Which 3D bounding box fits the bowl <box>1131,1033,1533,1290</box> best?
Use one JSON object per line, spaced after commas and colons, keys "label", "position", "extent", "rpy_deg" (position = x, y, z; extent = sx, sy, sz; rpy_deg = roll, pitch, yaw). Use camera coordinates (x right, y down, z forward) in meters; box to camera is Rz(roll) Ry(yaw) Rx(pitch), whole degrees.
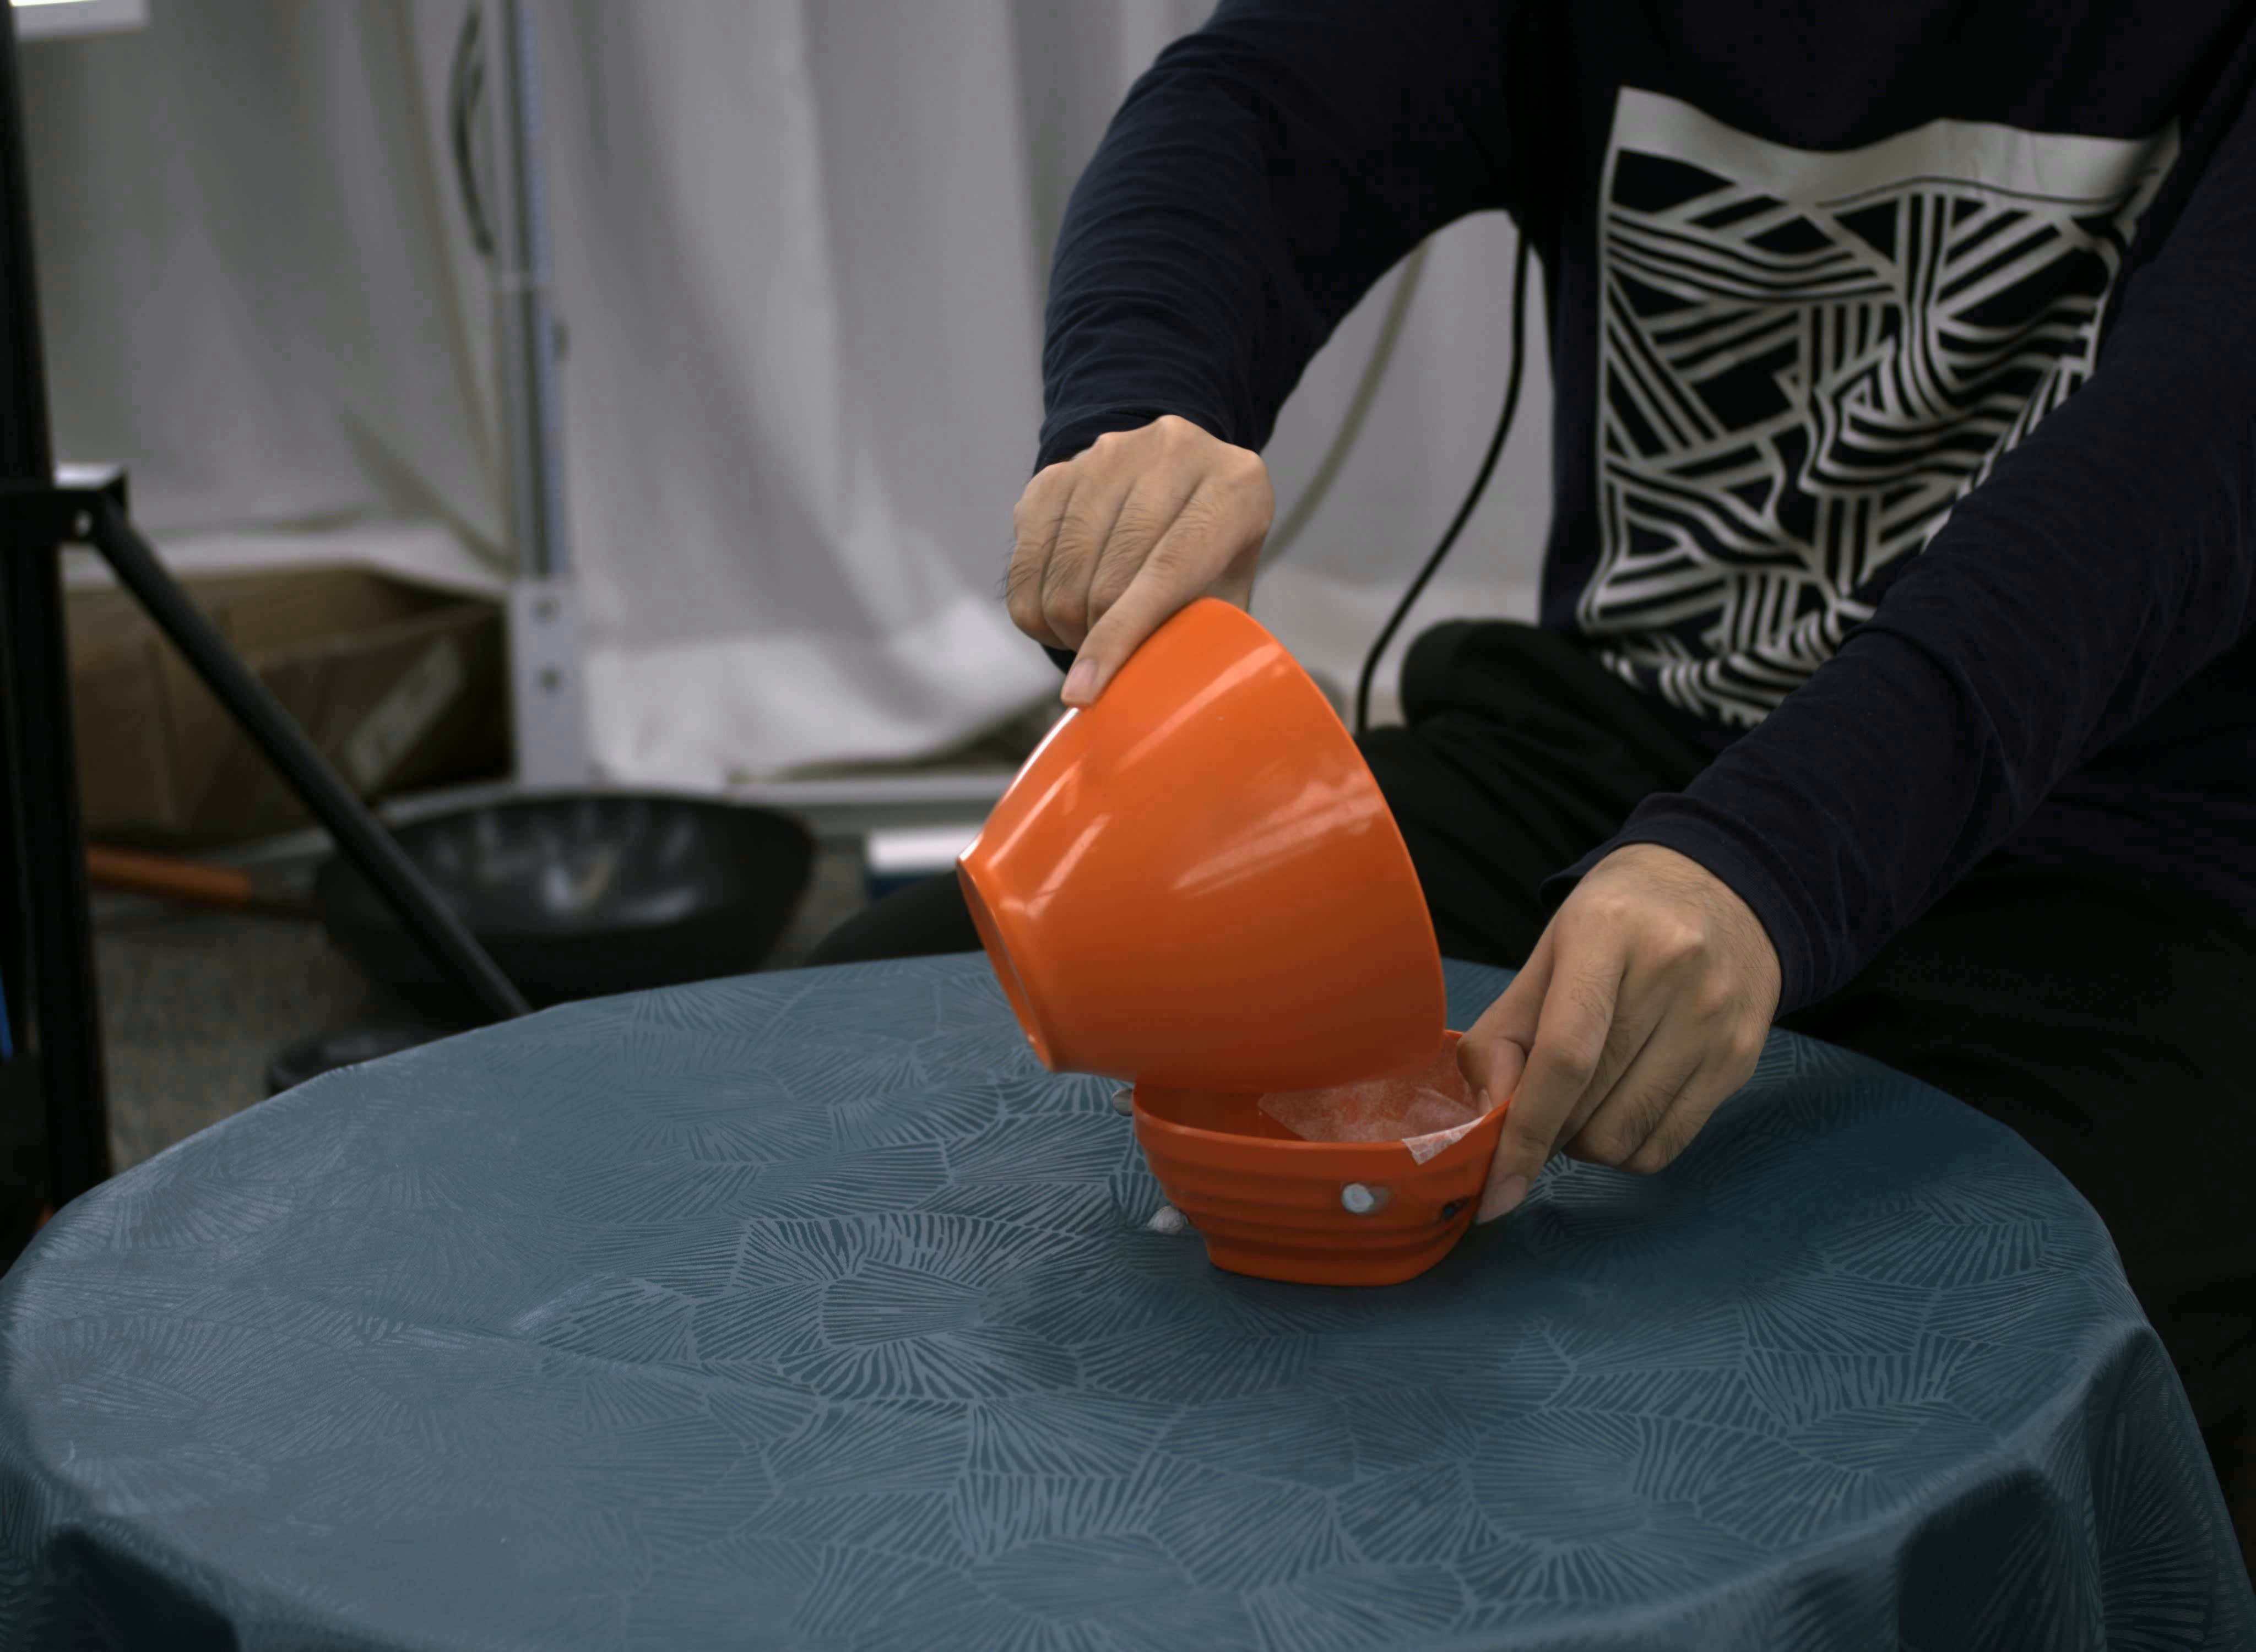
{"label": "bowl", "position": [0.059, 0.097, 1.505], "extent": [0.118, 0.051, 0.119], "rpy_deg": [-3, 14, -1]}

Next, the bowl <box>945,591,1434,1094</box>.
{"label": "bowl", "position": [0.010, 0.019, 1.483], "extent": [0.104, 0.147, 0.150], "rpy_deg": [-23, 19, -8]}
